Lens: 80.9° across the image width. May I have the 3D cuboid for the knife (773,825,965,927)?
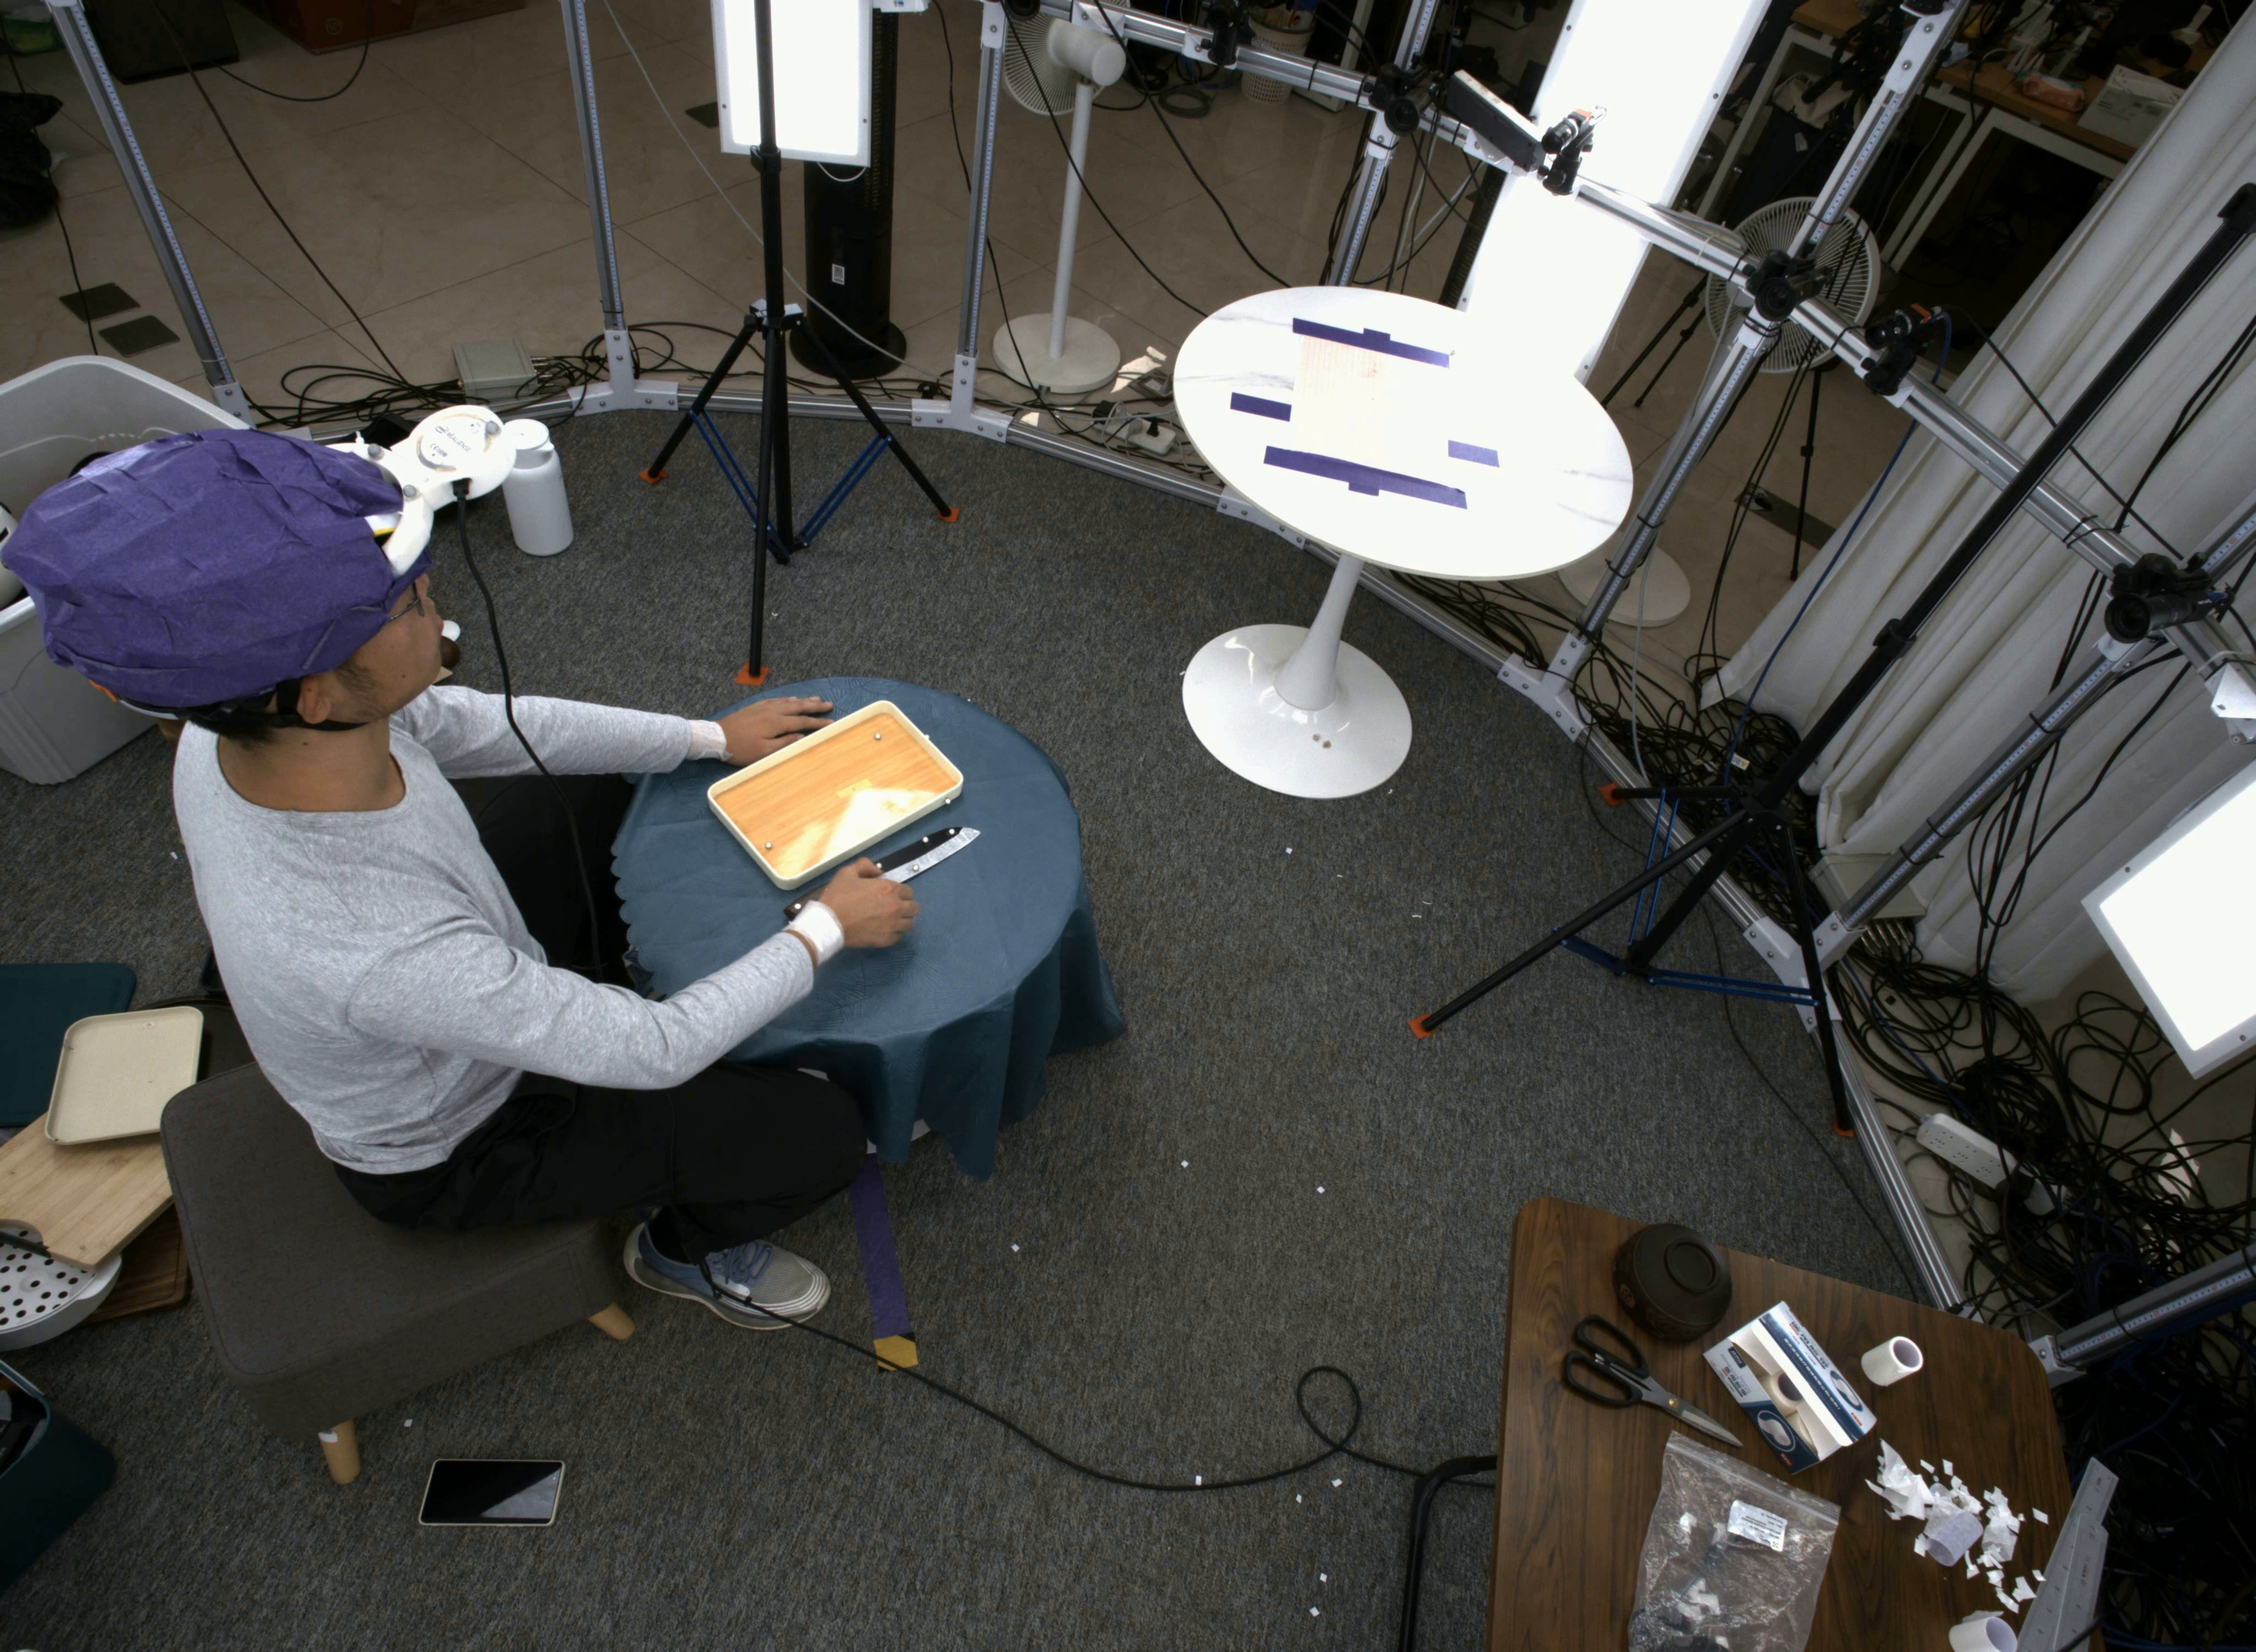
[{"bbox_3d":[-0.334,0.060,1.705,0.290,0.020,0.049,-27,69,-32],"label":"knife"}]

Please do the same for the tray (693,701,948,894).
[{"bbox_3d":[-0.413,-0.046,1.756,0.301,0.028,0.187,-34,68,-32],"label":"tray"}]
